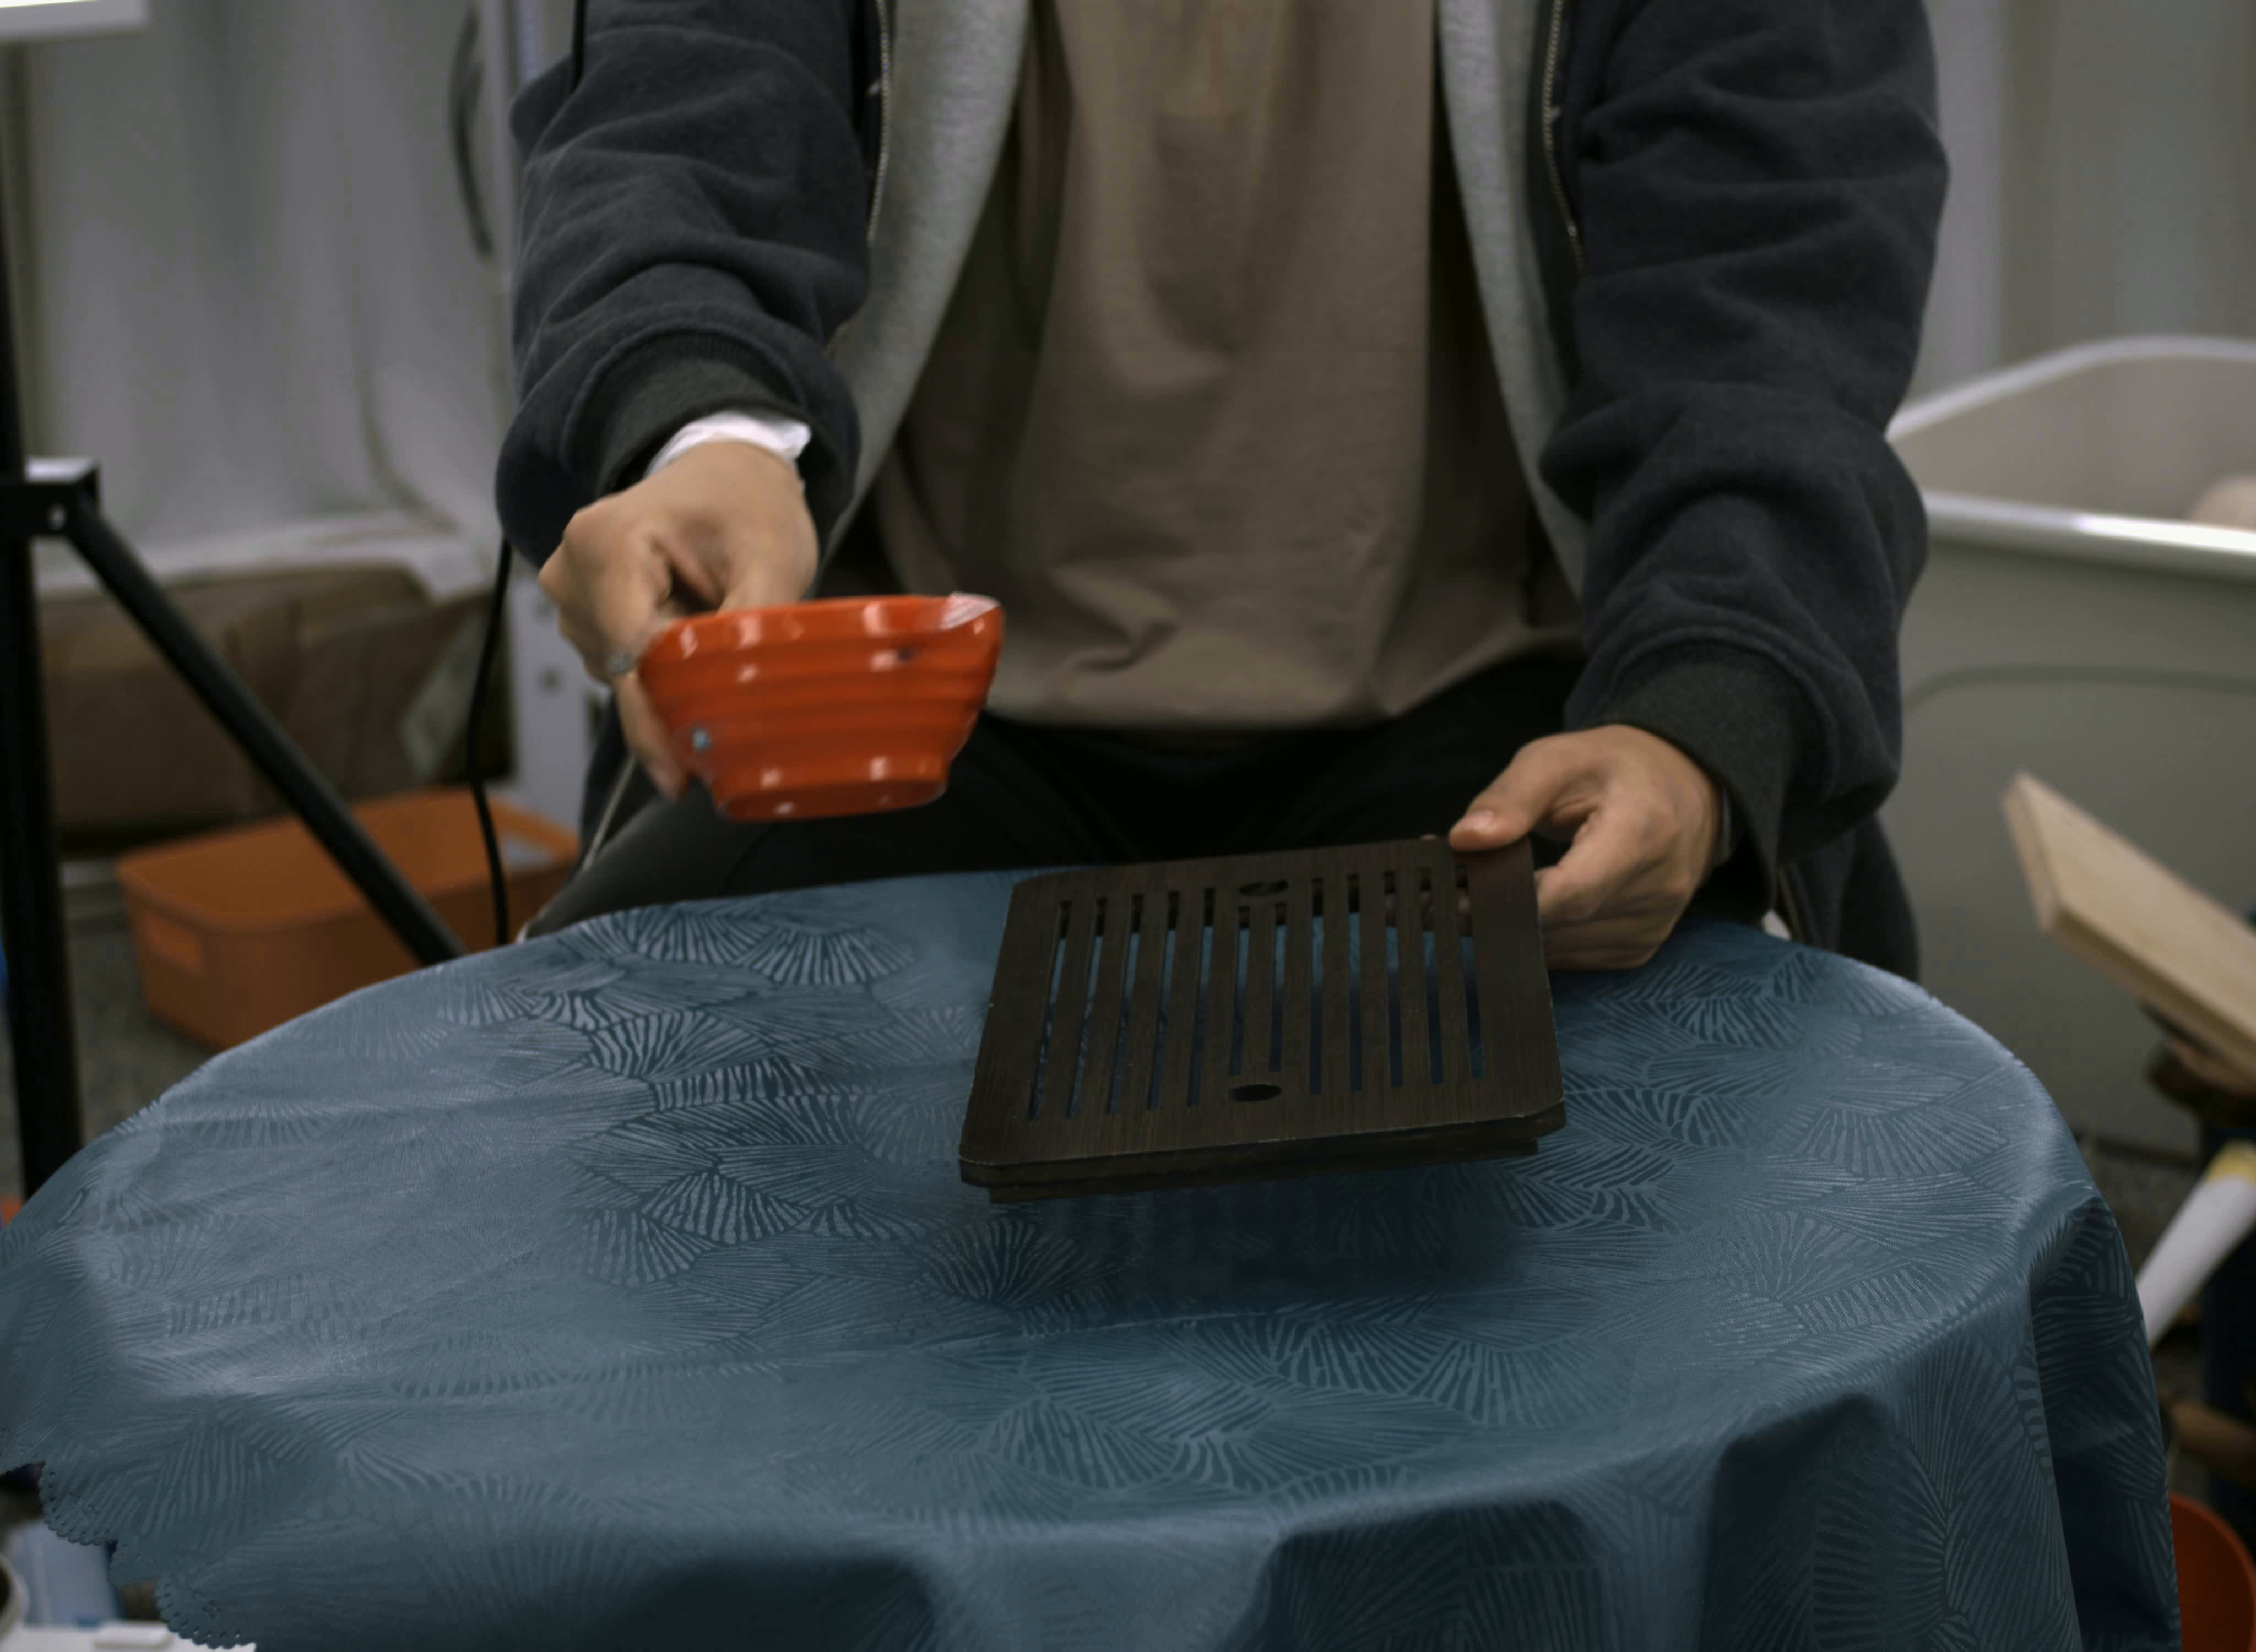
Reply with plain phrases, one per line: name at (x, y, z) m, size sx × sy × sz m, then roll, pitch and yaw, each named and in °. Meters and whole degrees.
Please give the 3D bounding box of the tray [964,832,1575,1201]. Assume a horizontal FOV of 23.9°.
tray at (0.044, 0.055, 1.596) m, size 0.170 × 0.018 × 0.306 m, roll -6°, pitch 14°, yaw 4°

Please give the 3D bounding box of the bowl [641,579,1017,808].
bowl at (-0.086, -0.036, 1.560) m, size 0.118 × 0.052 × 0.119 m, roll -4°, pitch -9°, yaw -2°
